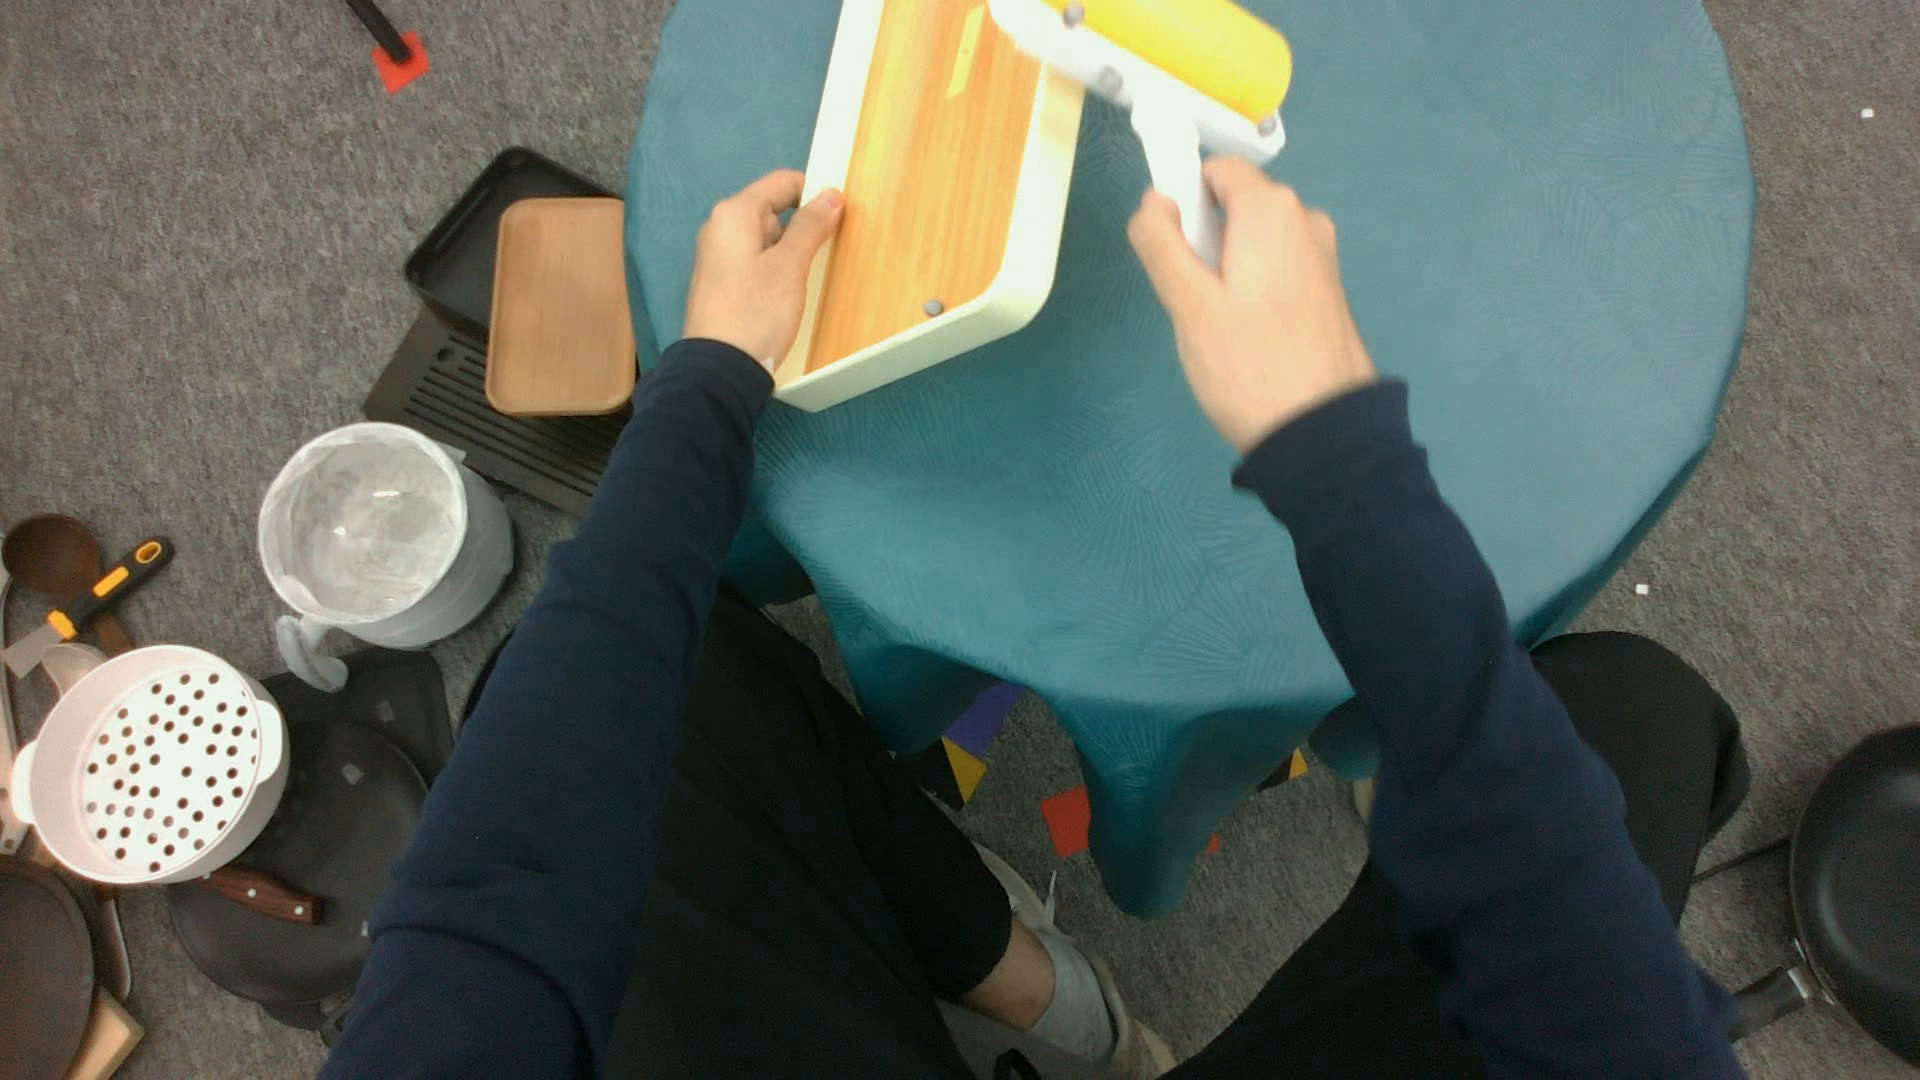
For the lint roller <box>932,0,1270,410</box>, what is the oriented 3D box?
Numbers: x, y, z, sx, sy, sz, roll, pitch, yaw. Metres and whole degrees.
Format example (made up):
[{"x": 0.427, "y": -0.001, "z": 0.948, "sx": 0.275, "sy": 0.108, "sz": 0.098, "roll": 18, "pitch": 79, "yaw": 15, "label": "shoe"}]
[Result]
[{"x": 0.088, "y": -0.141, "z": 0.543, "sx": 0.051, "sy": 0.174, "sz": 0.192, "roll": -43, "pitch": 58, "yaw": 35, "label": "lint roller"}]

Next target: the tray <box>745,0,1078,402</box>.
[{"x": -0.016, "y": -0.222, "z": 0.660, "sx": 0.027, "sy": 0.191, "sz": 0.301, "roll": 23, "pitch": 68, "yaw": -34, "label": "tray"}]
